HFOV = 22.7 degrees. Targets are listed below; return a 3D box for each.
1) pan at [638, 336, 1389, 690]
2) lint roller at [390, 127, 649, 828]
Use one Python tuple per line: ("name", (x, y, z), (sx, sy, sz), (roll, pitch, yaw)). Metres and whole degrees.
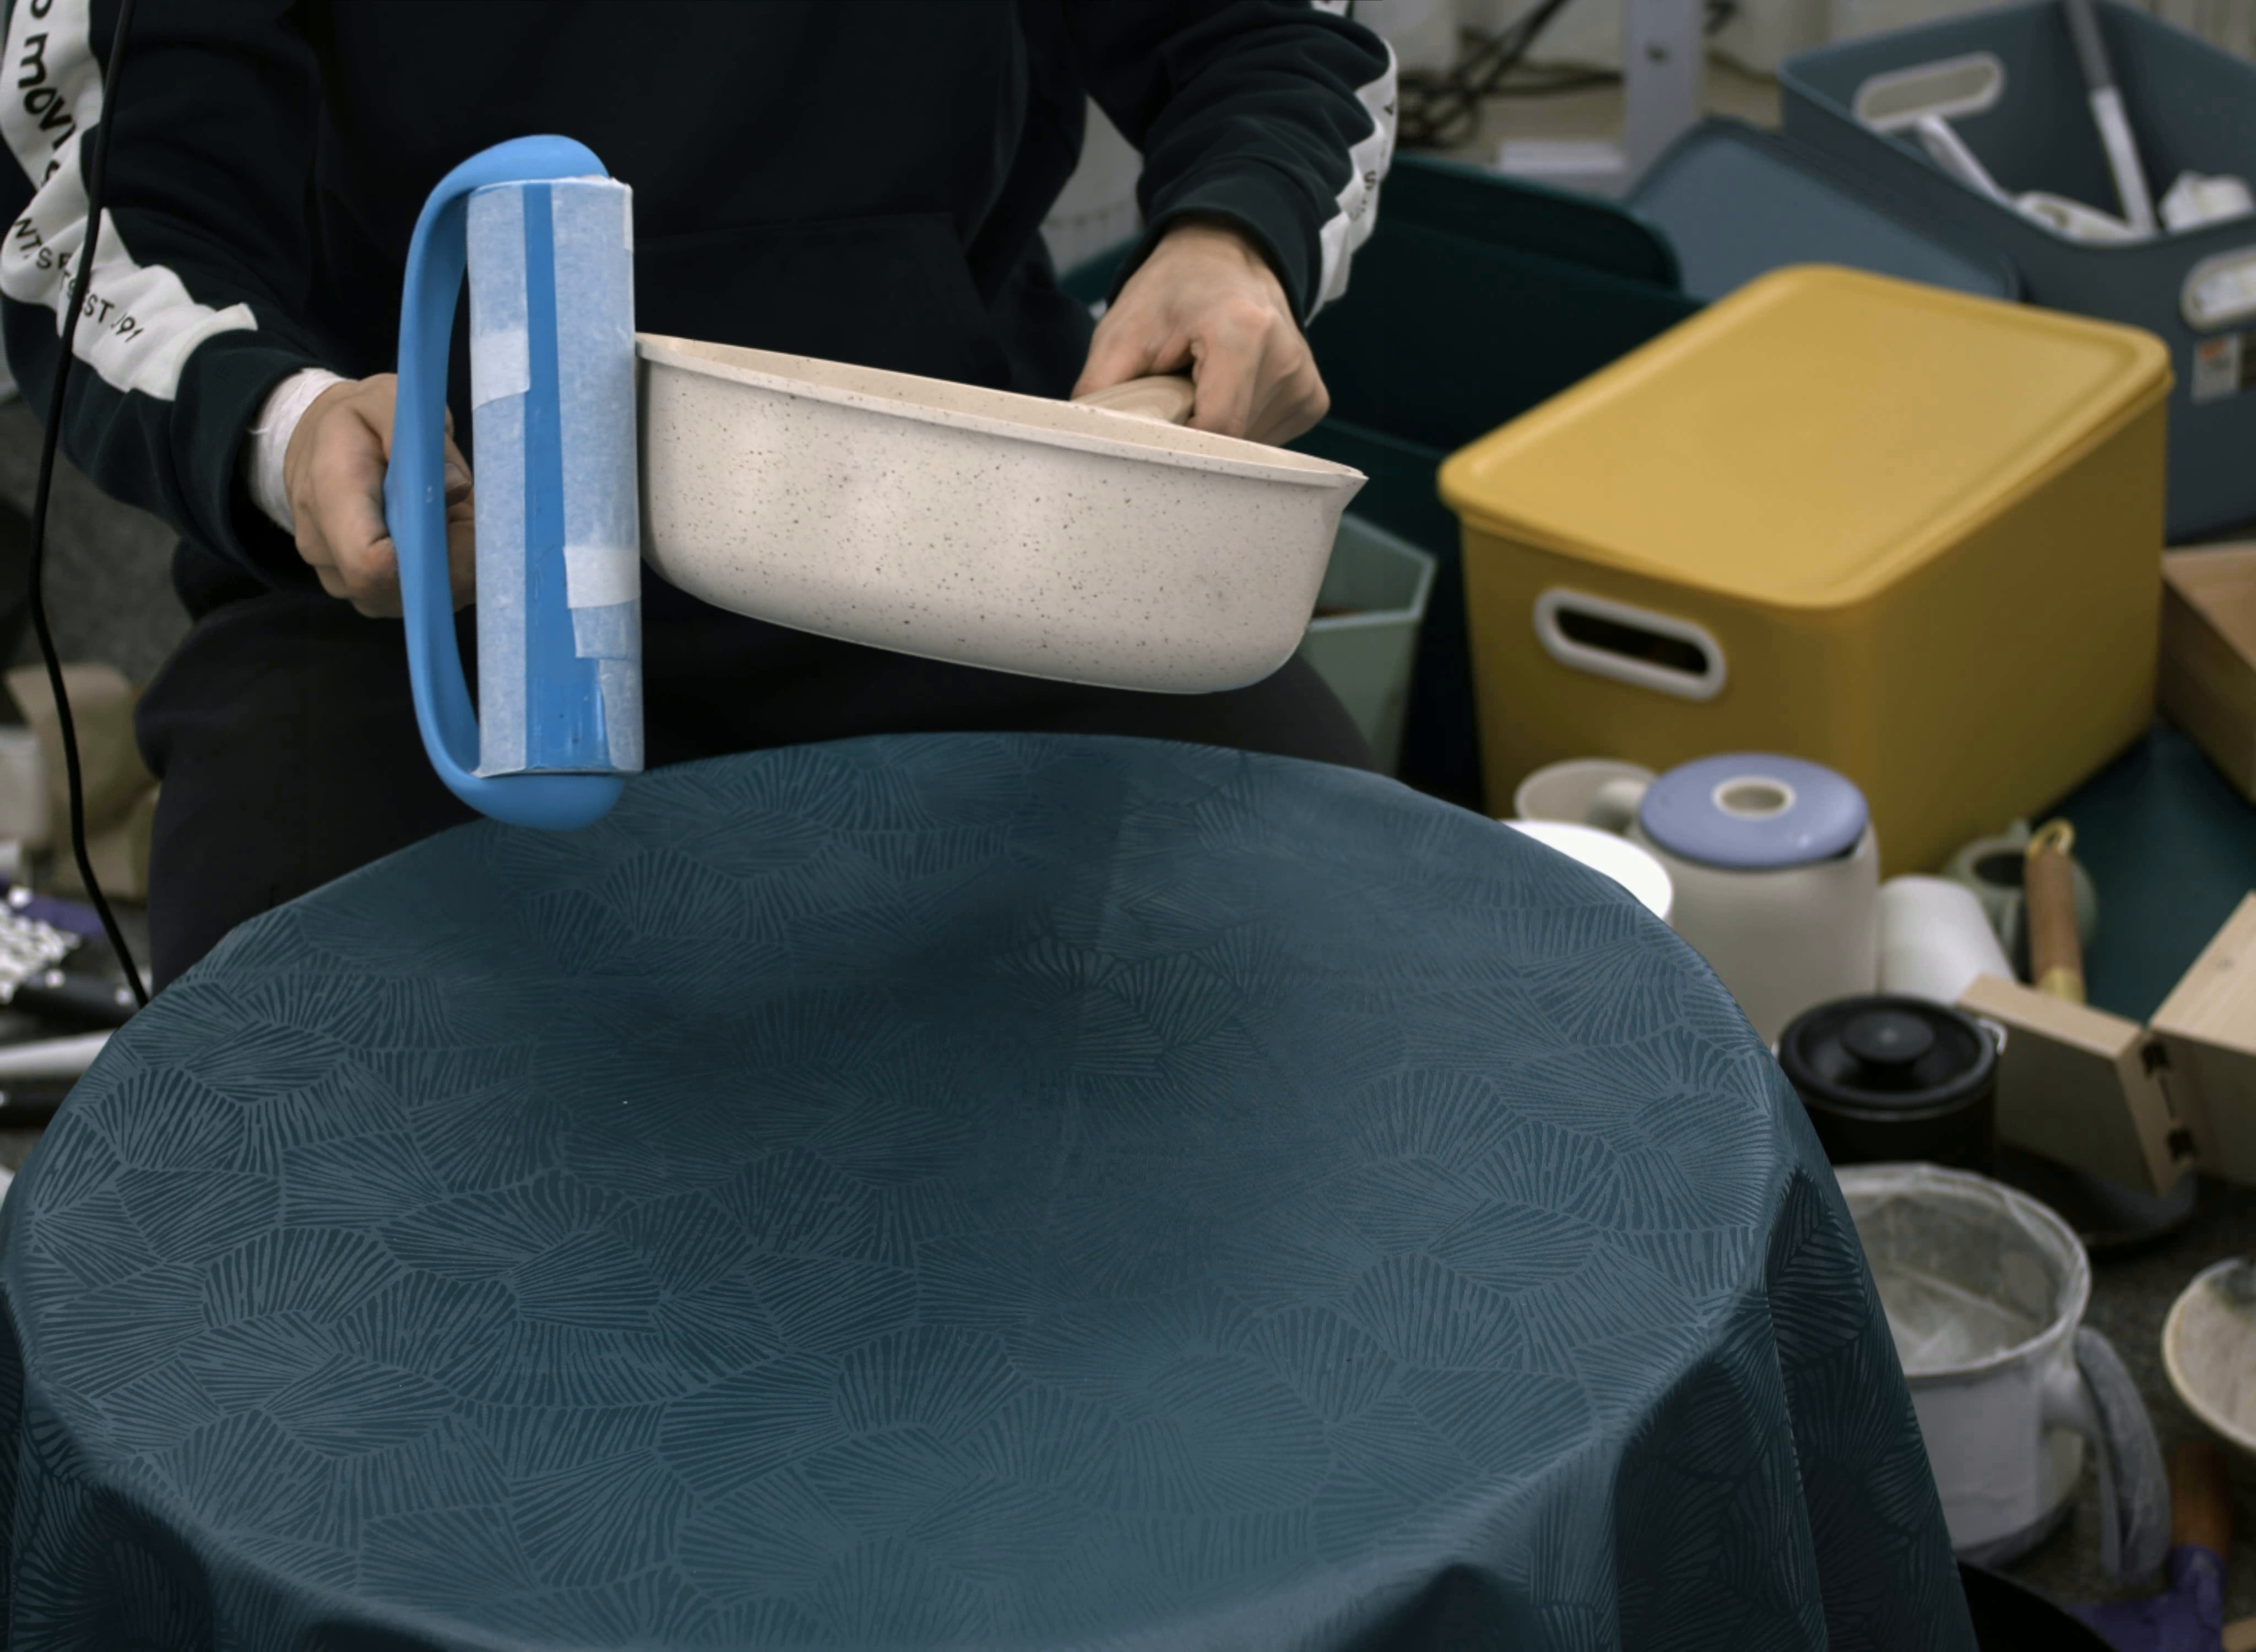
("pan", (-0.020, -0.115, 1.983), (0.262, 0.102, 0.436), (11, 5, 14))
("lint roller", (-0.216, -0.108, 1.891), (0.068, 0.231, 0.178), (0, -7, -31))
